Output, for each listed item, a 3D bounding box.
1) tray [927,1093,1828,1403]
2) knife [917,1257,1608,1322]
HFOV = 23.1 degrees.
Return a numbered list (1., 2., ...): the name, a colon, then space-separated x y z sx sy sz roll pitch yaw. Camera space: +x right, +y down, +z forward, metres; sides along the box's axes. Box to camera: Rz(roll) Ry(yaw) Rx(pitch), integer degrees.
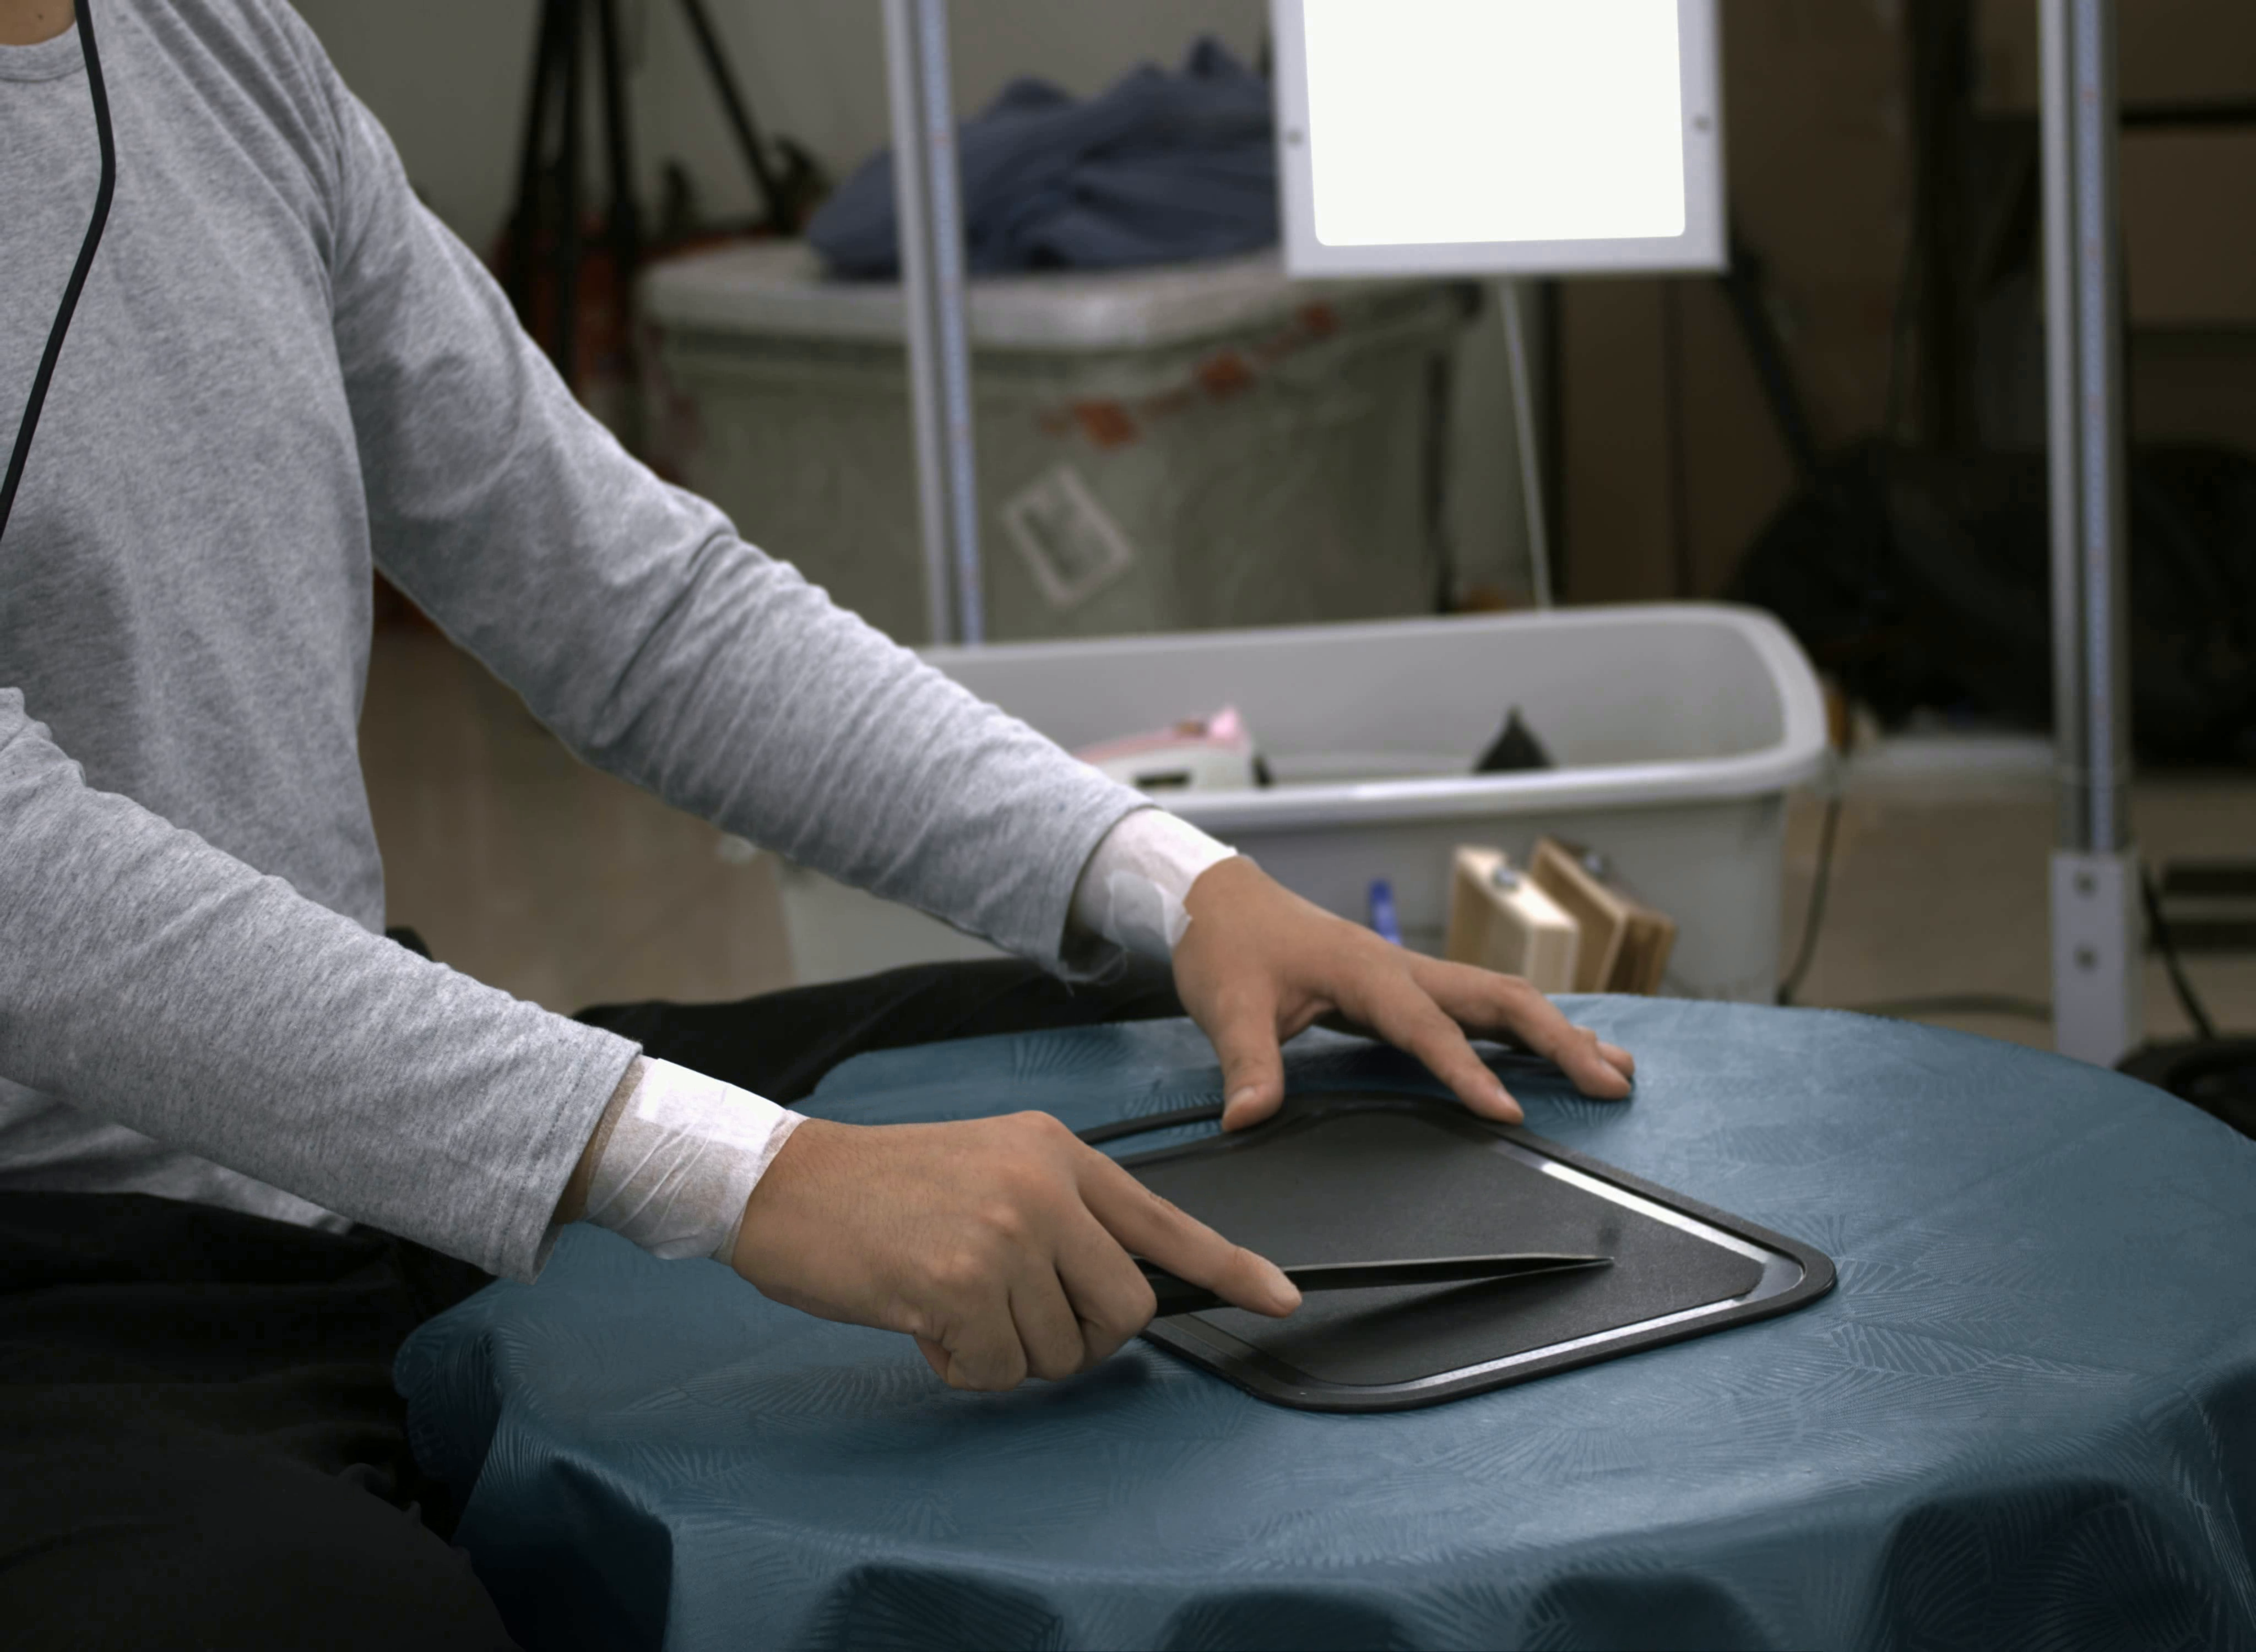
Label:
1. tray: 0.073 0.134 1.834 0.207 0.010 0.331 -11 15 -25
2. knife: 0.047 0.144 1.739 0.234 0.016 0.025 -1 -20 -20
